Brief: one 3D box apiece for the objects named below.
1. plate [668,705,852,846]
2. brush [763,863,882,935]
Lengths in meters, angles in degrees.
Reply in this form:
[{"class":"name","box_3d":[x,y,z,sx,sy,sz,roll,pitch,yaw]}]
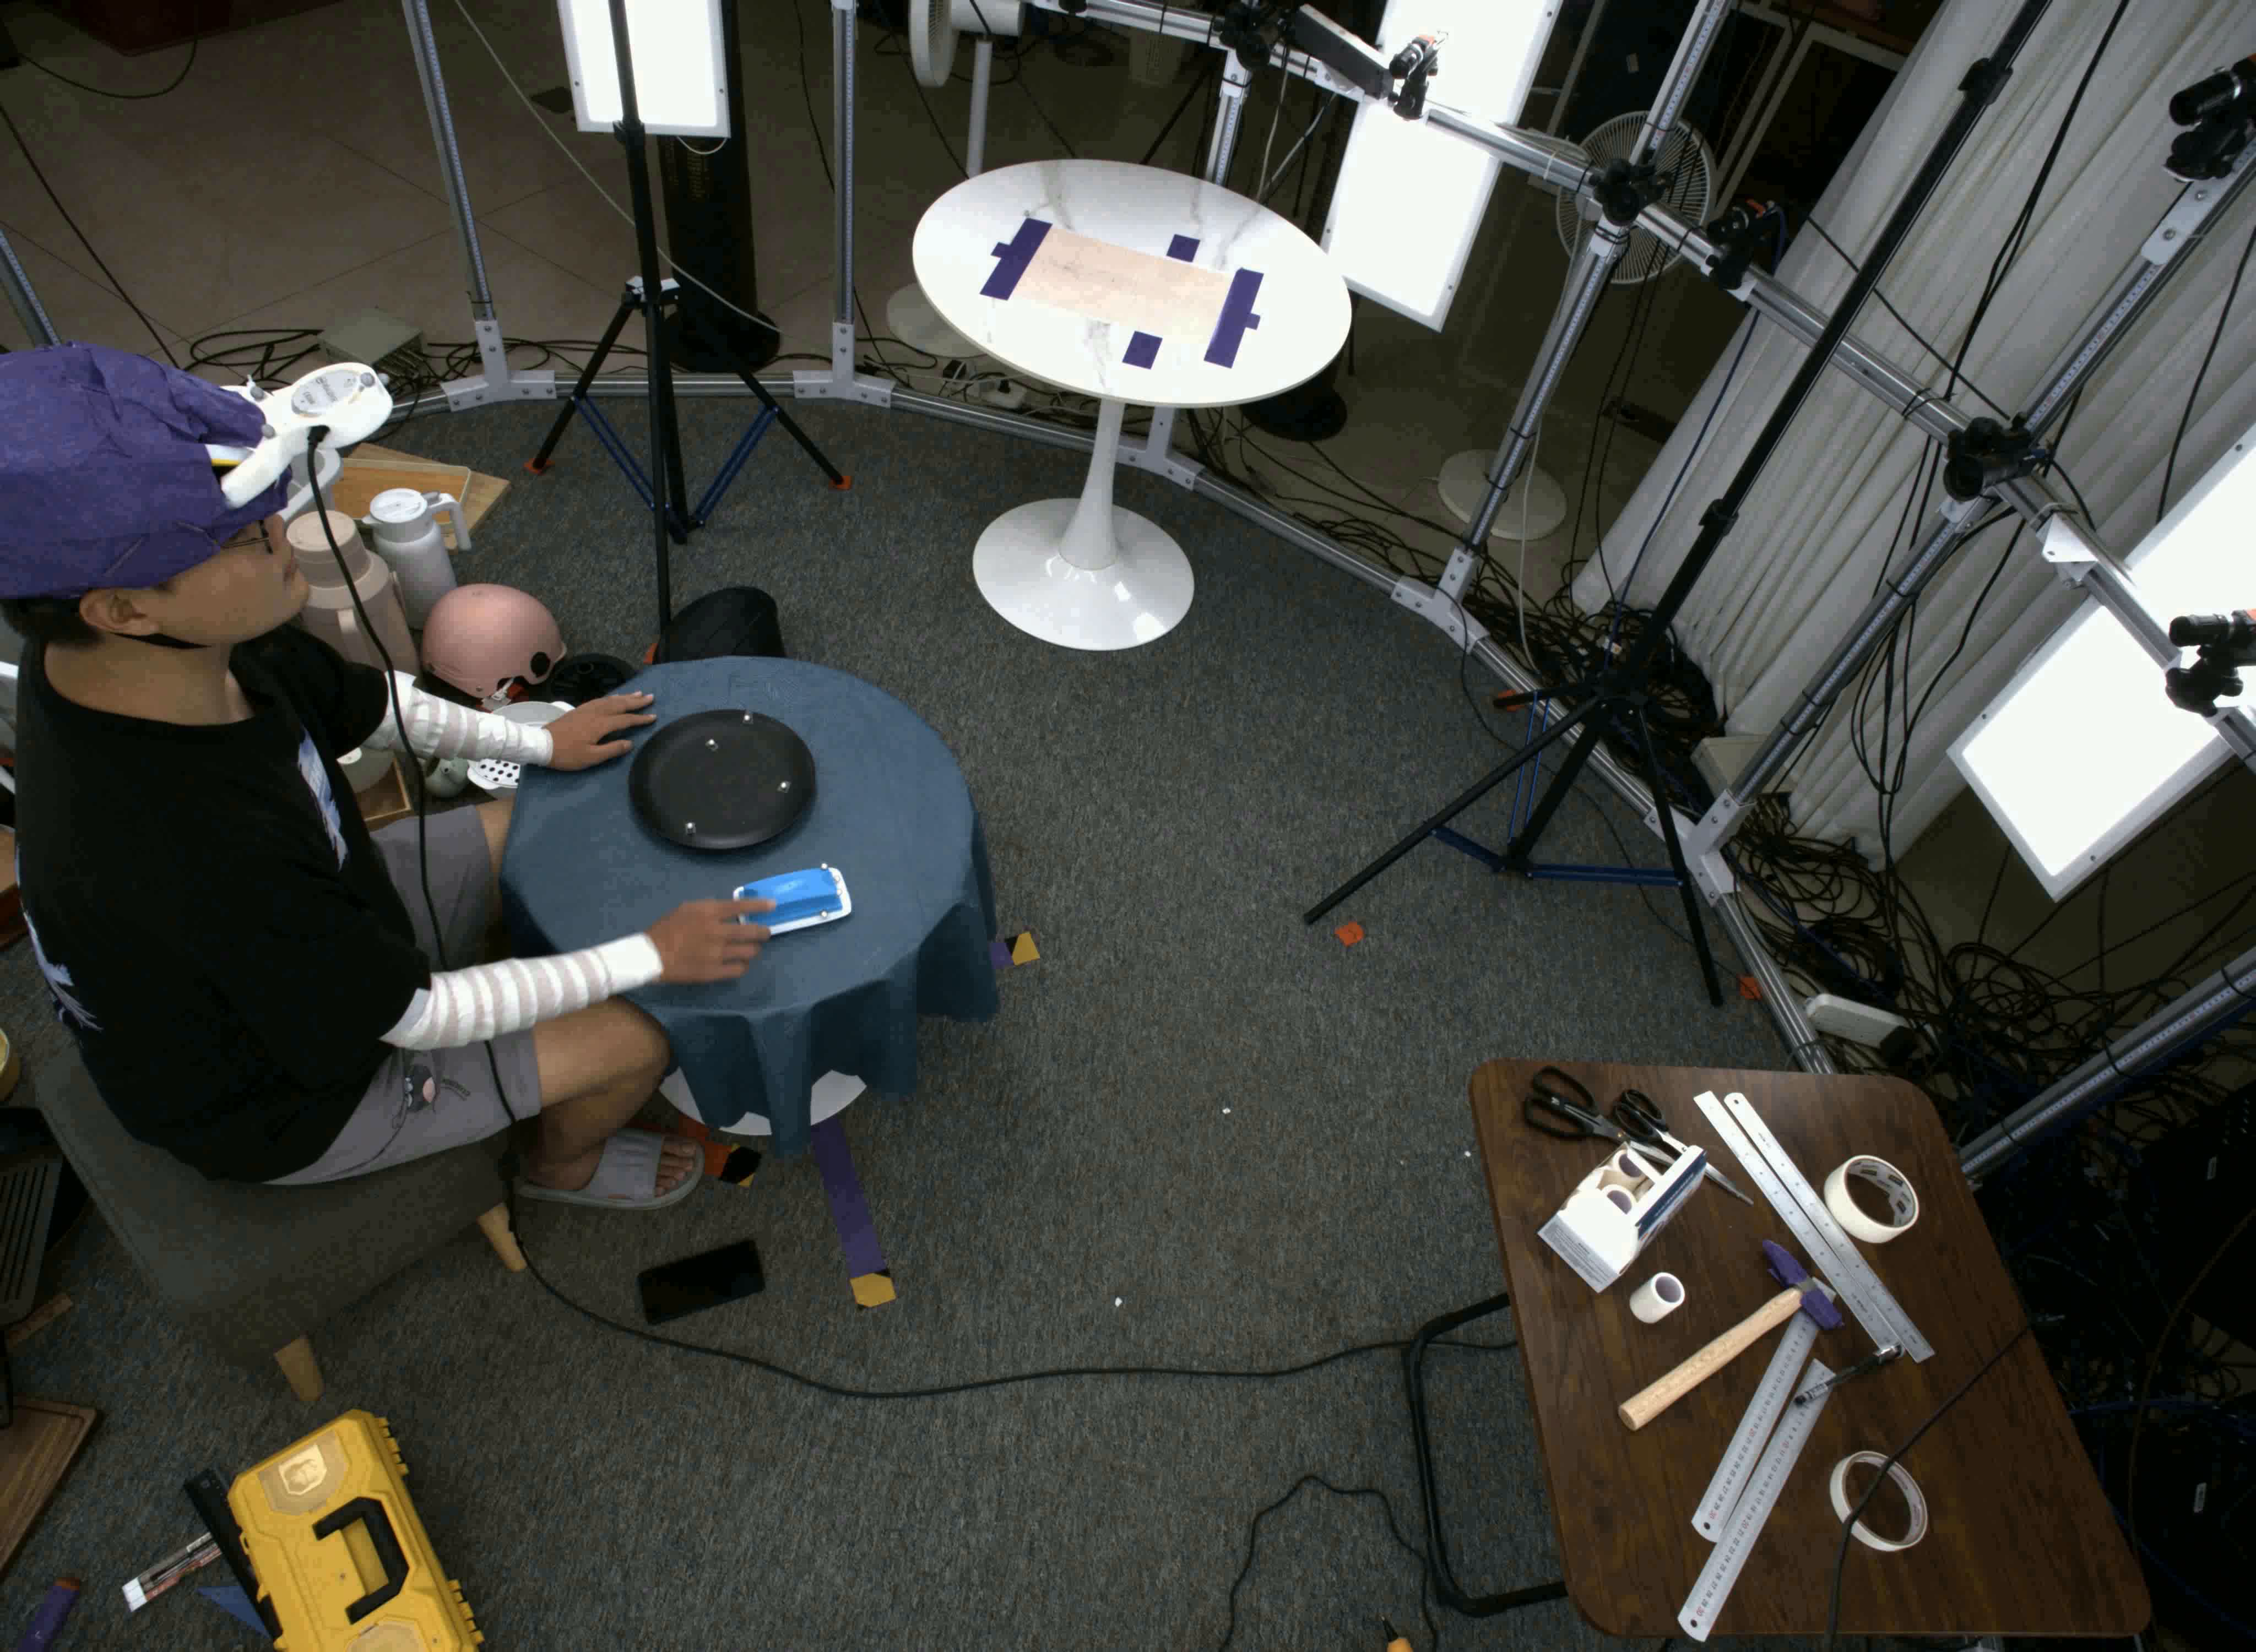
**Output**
[{"class":"plate","box_3d":[-0.497,-0.067,1.750,0.244,0.024,0.240,8,53,-9]},{"class":"brush","box_3d":[-0.387,0.083,1.641,0.145,0.057,0.081,-11,52,-24]}]
